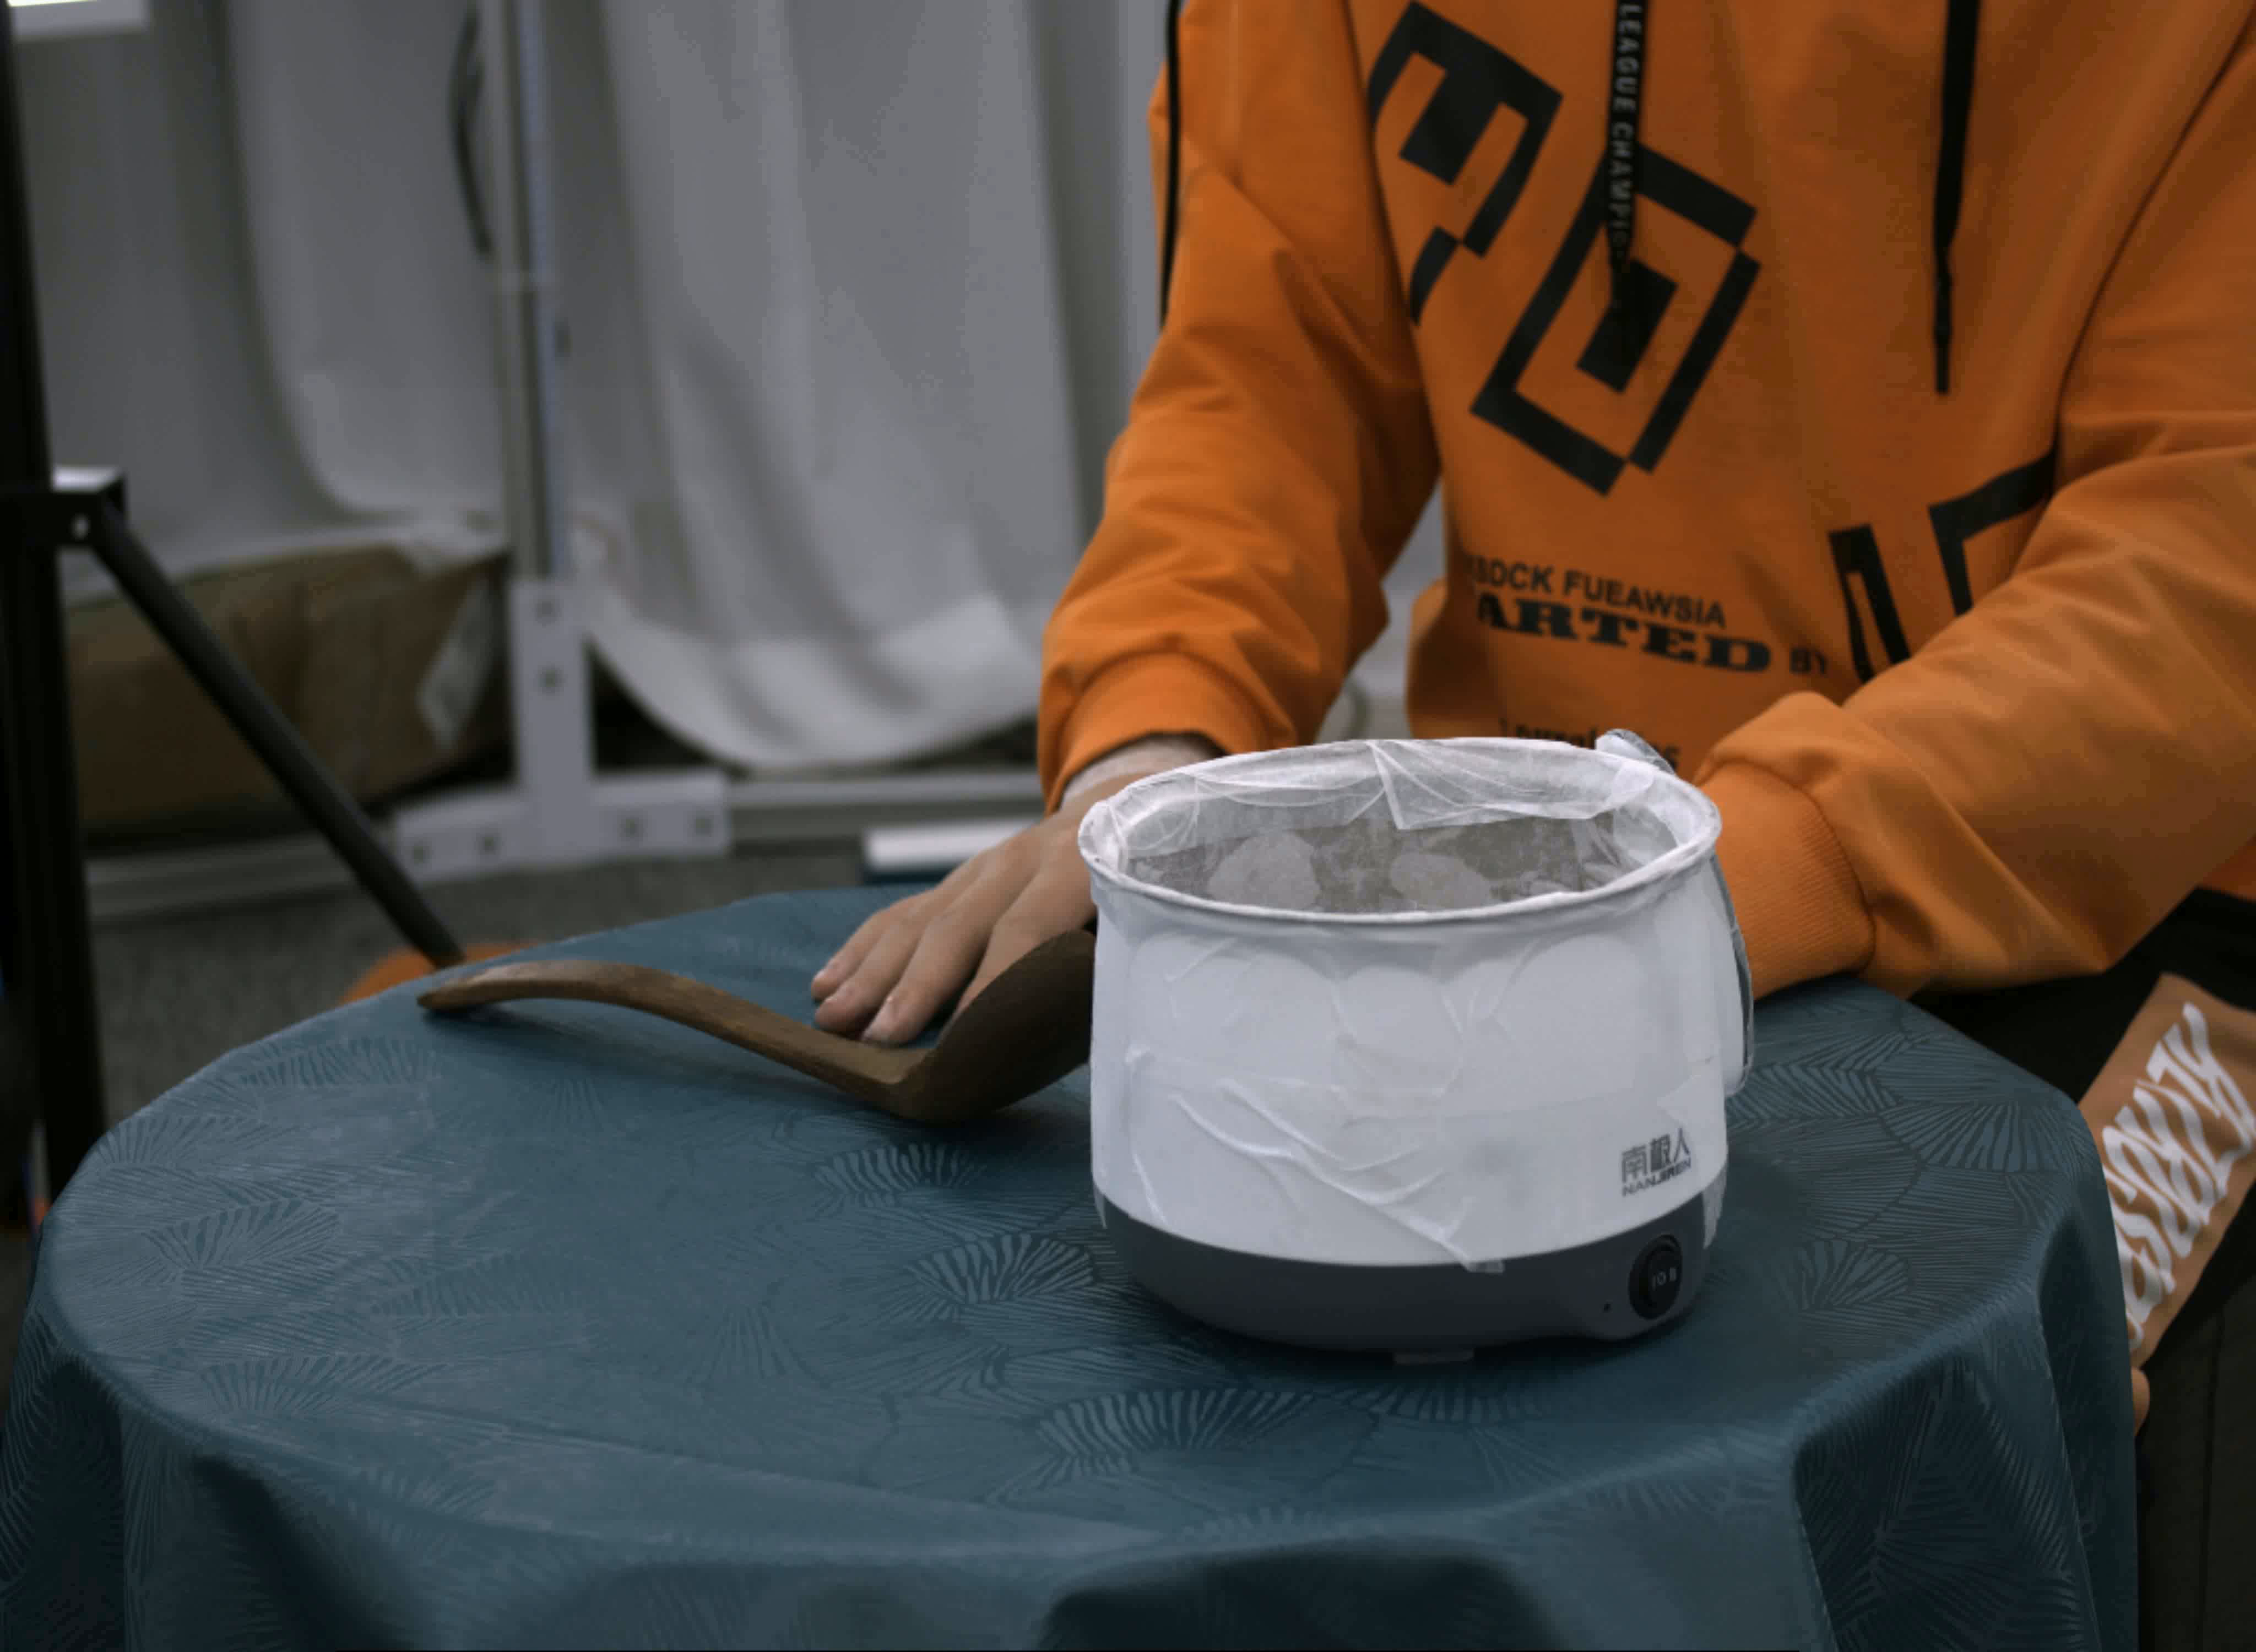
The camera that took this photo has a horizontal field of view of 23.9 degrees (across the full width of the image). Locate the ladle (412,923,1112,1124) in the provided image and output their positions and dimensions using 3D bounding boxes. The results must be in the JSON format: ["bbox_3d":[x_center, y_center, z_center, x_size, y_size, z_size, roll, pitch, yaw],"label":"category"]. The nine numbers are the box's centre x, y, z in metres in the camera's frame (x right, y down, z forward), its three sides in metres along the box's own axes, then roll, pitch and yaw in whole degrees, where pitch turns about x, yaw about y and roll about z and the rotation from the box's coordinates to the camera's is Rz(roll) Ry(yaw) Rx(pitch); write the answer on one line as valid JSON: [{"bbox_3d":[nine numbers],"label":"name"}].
[{"bbox_3d":[-0.122,0.045,1.675,0.280,0.071,0.074,11,17,38],"label":"ladle"}]

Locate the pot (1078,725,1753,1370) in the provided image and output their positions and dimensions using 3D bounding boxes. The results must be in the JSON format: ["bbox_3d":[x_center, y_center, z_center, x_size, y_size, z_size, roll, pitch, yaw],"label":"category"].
[{"bbox_3d":[0.095,0.054,1.481,0.183,0.136,0.228,12,21,41],"label":"pot"}]
